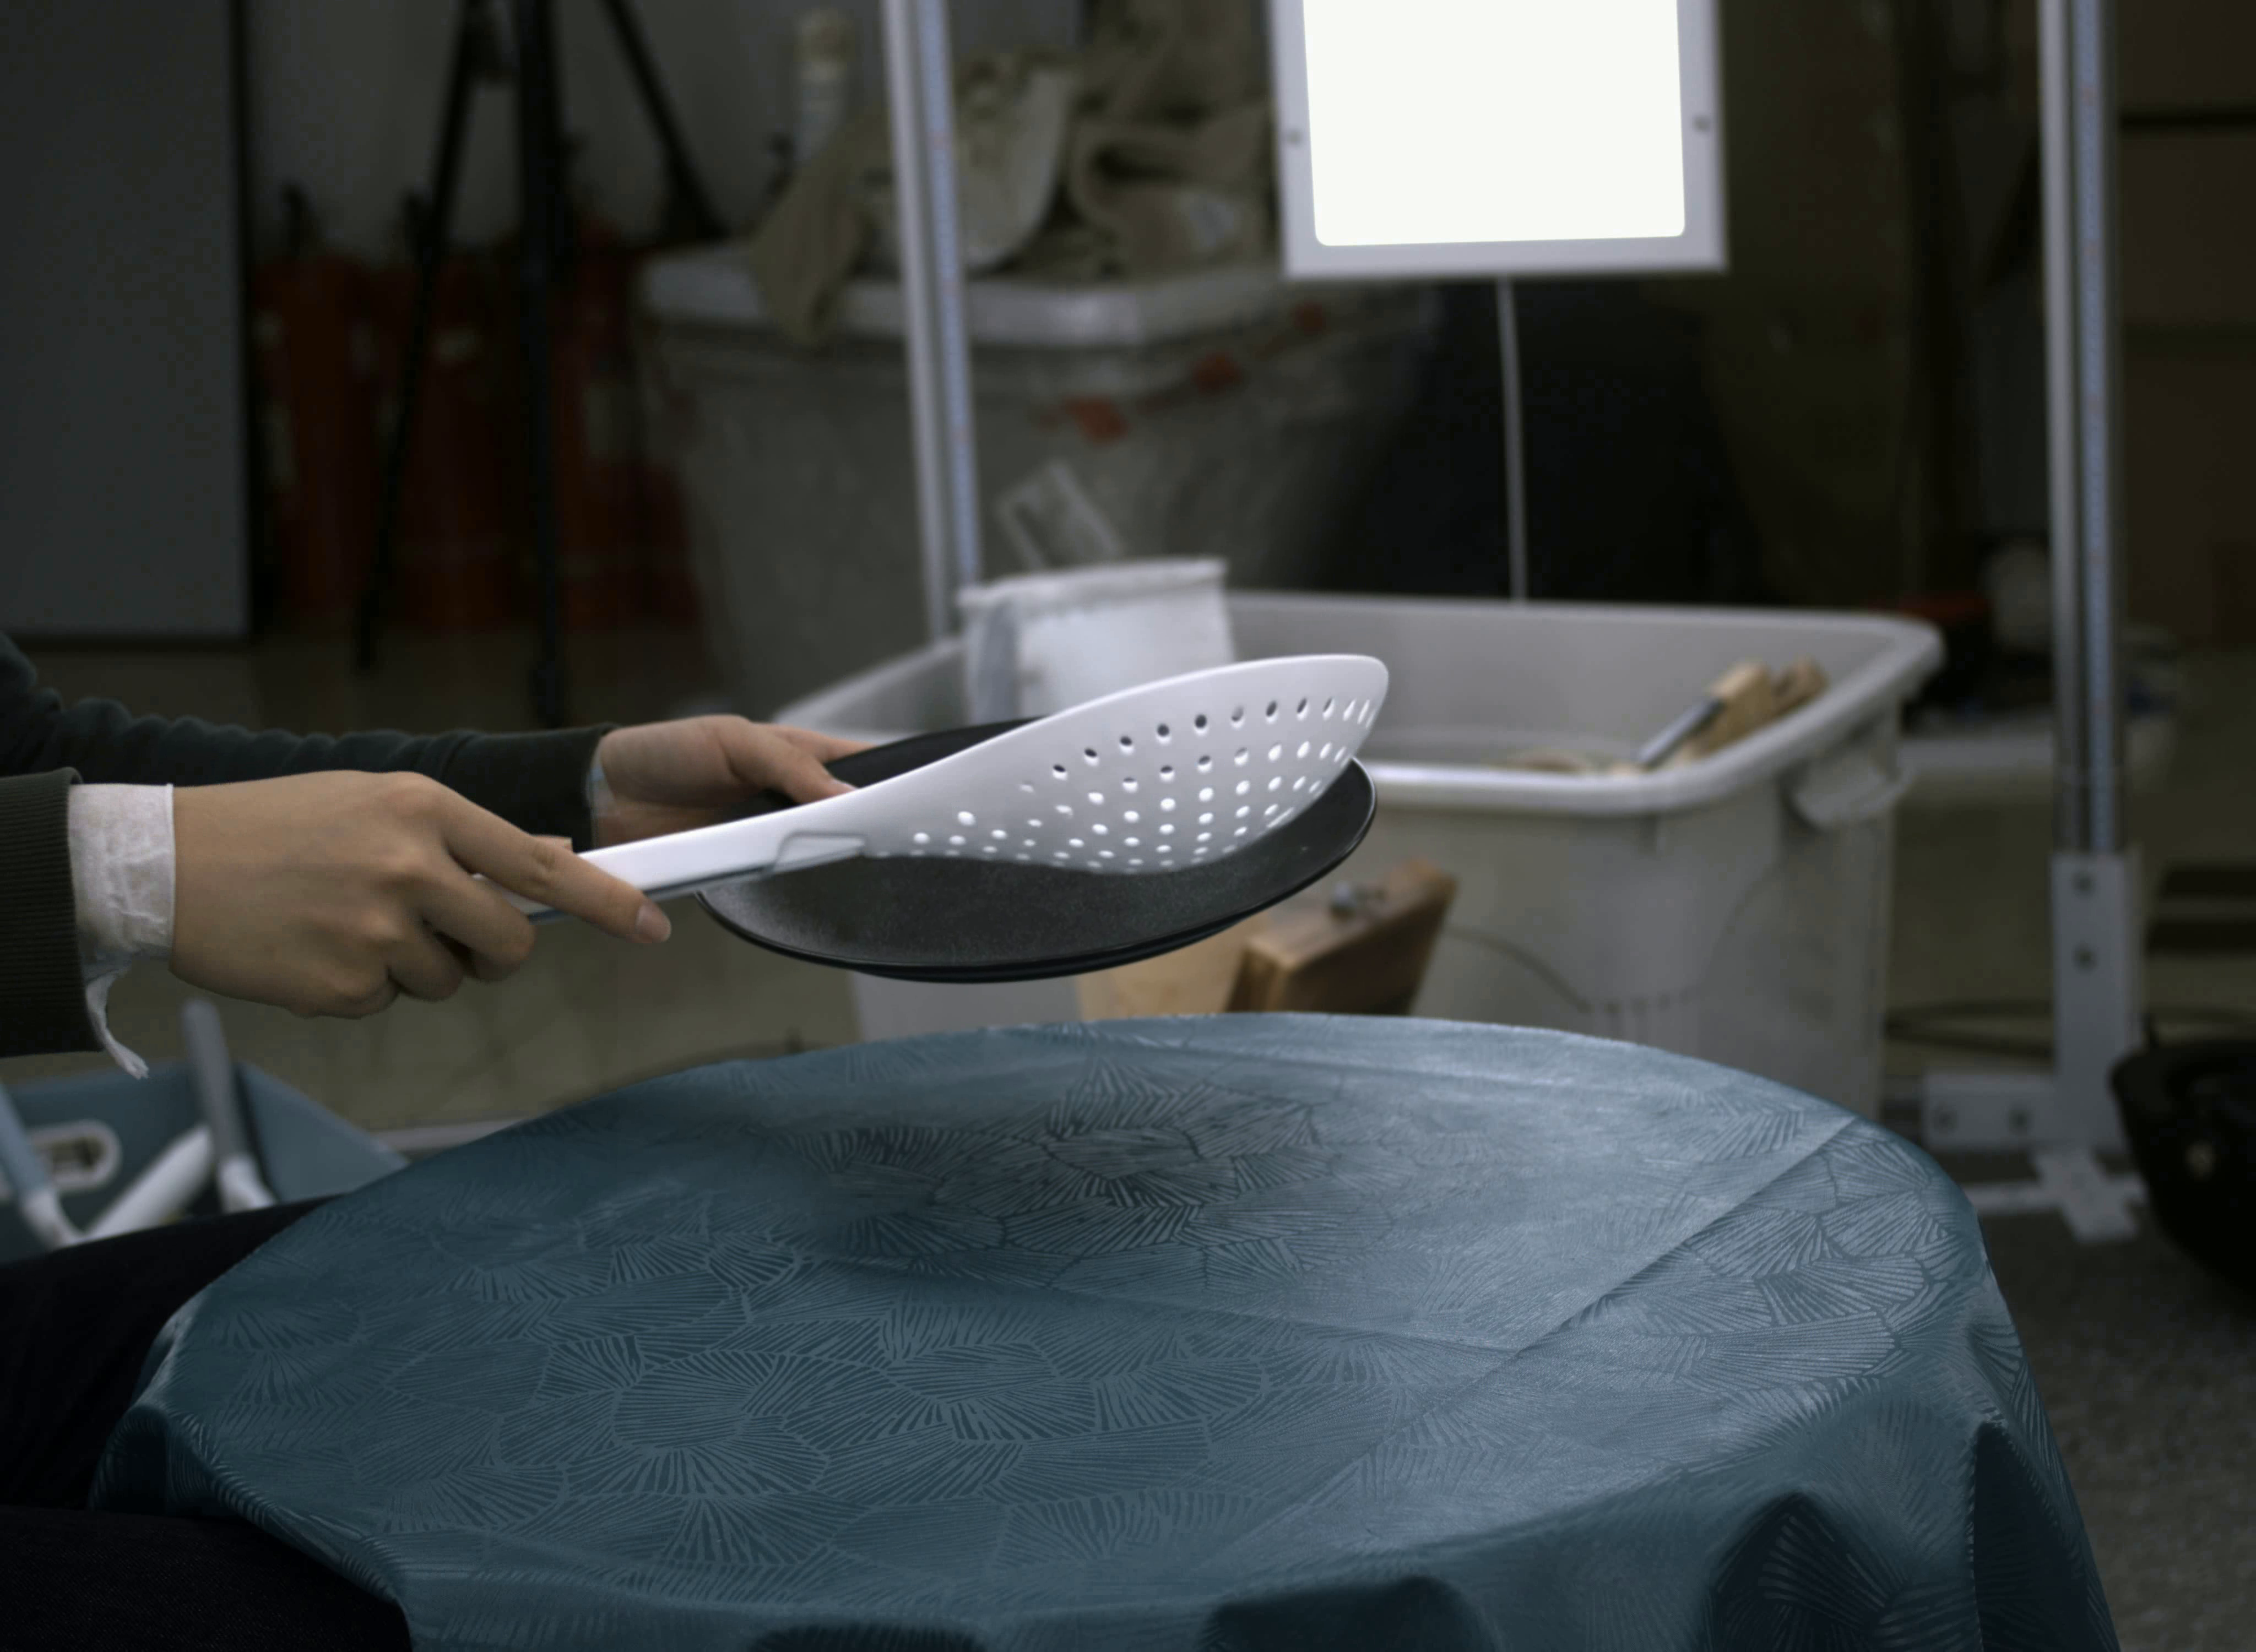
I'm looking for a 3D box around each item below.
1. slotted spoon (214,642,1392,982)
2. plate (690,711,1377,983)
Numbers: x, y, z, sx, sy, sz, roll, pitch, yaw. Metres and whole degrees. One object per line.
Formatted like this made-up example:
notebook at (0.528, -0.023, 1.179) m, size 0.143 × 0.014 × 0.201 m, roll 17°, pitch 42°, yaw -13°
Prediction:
slotted spoon at (-0.091, -0.001, 1.591) m, size 0.347 × 0.046 × 0.137 m, roll -8°, pitch -10°, yaw -6°
plate at (-0.032, 0.010, 1.929) m, size 0.244 × 0.023 × 0.244 m, roll -7°, pitch 20°, yaw 1°
